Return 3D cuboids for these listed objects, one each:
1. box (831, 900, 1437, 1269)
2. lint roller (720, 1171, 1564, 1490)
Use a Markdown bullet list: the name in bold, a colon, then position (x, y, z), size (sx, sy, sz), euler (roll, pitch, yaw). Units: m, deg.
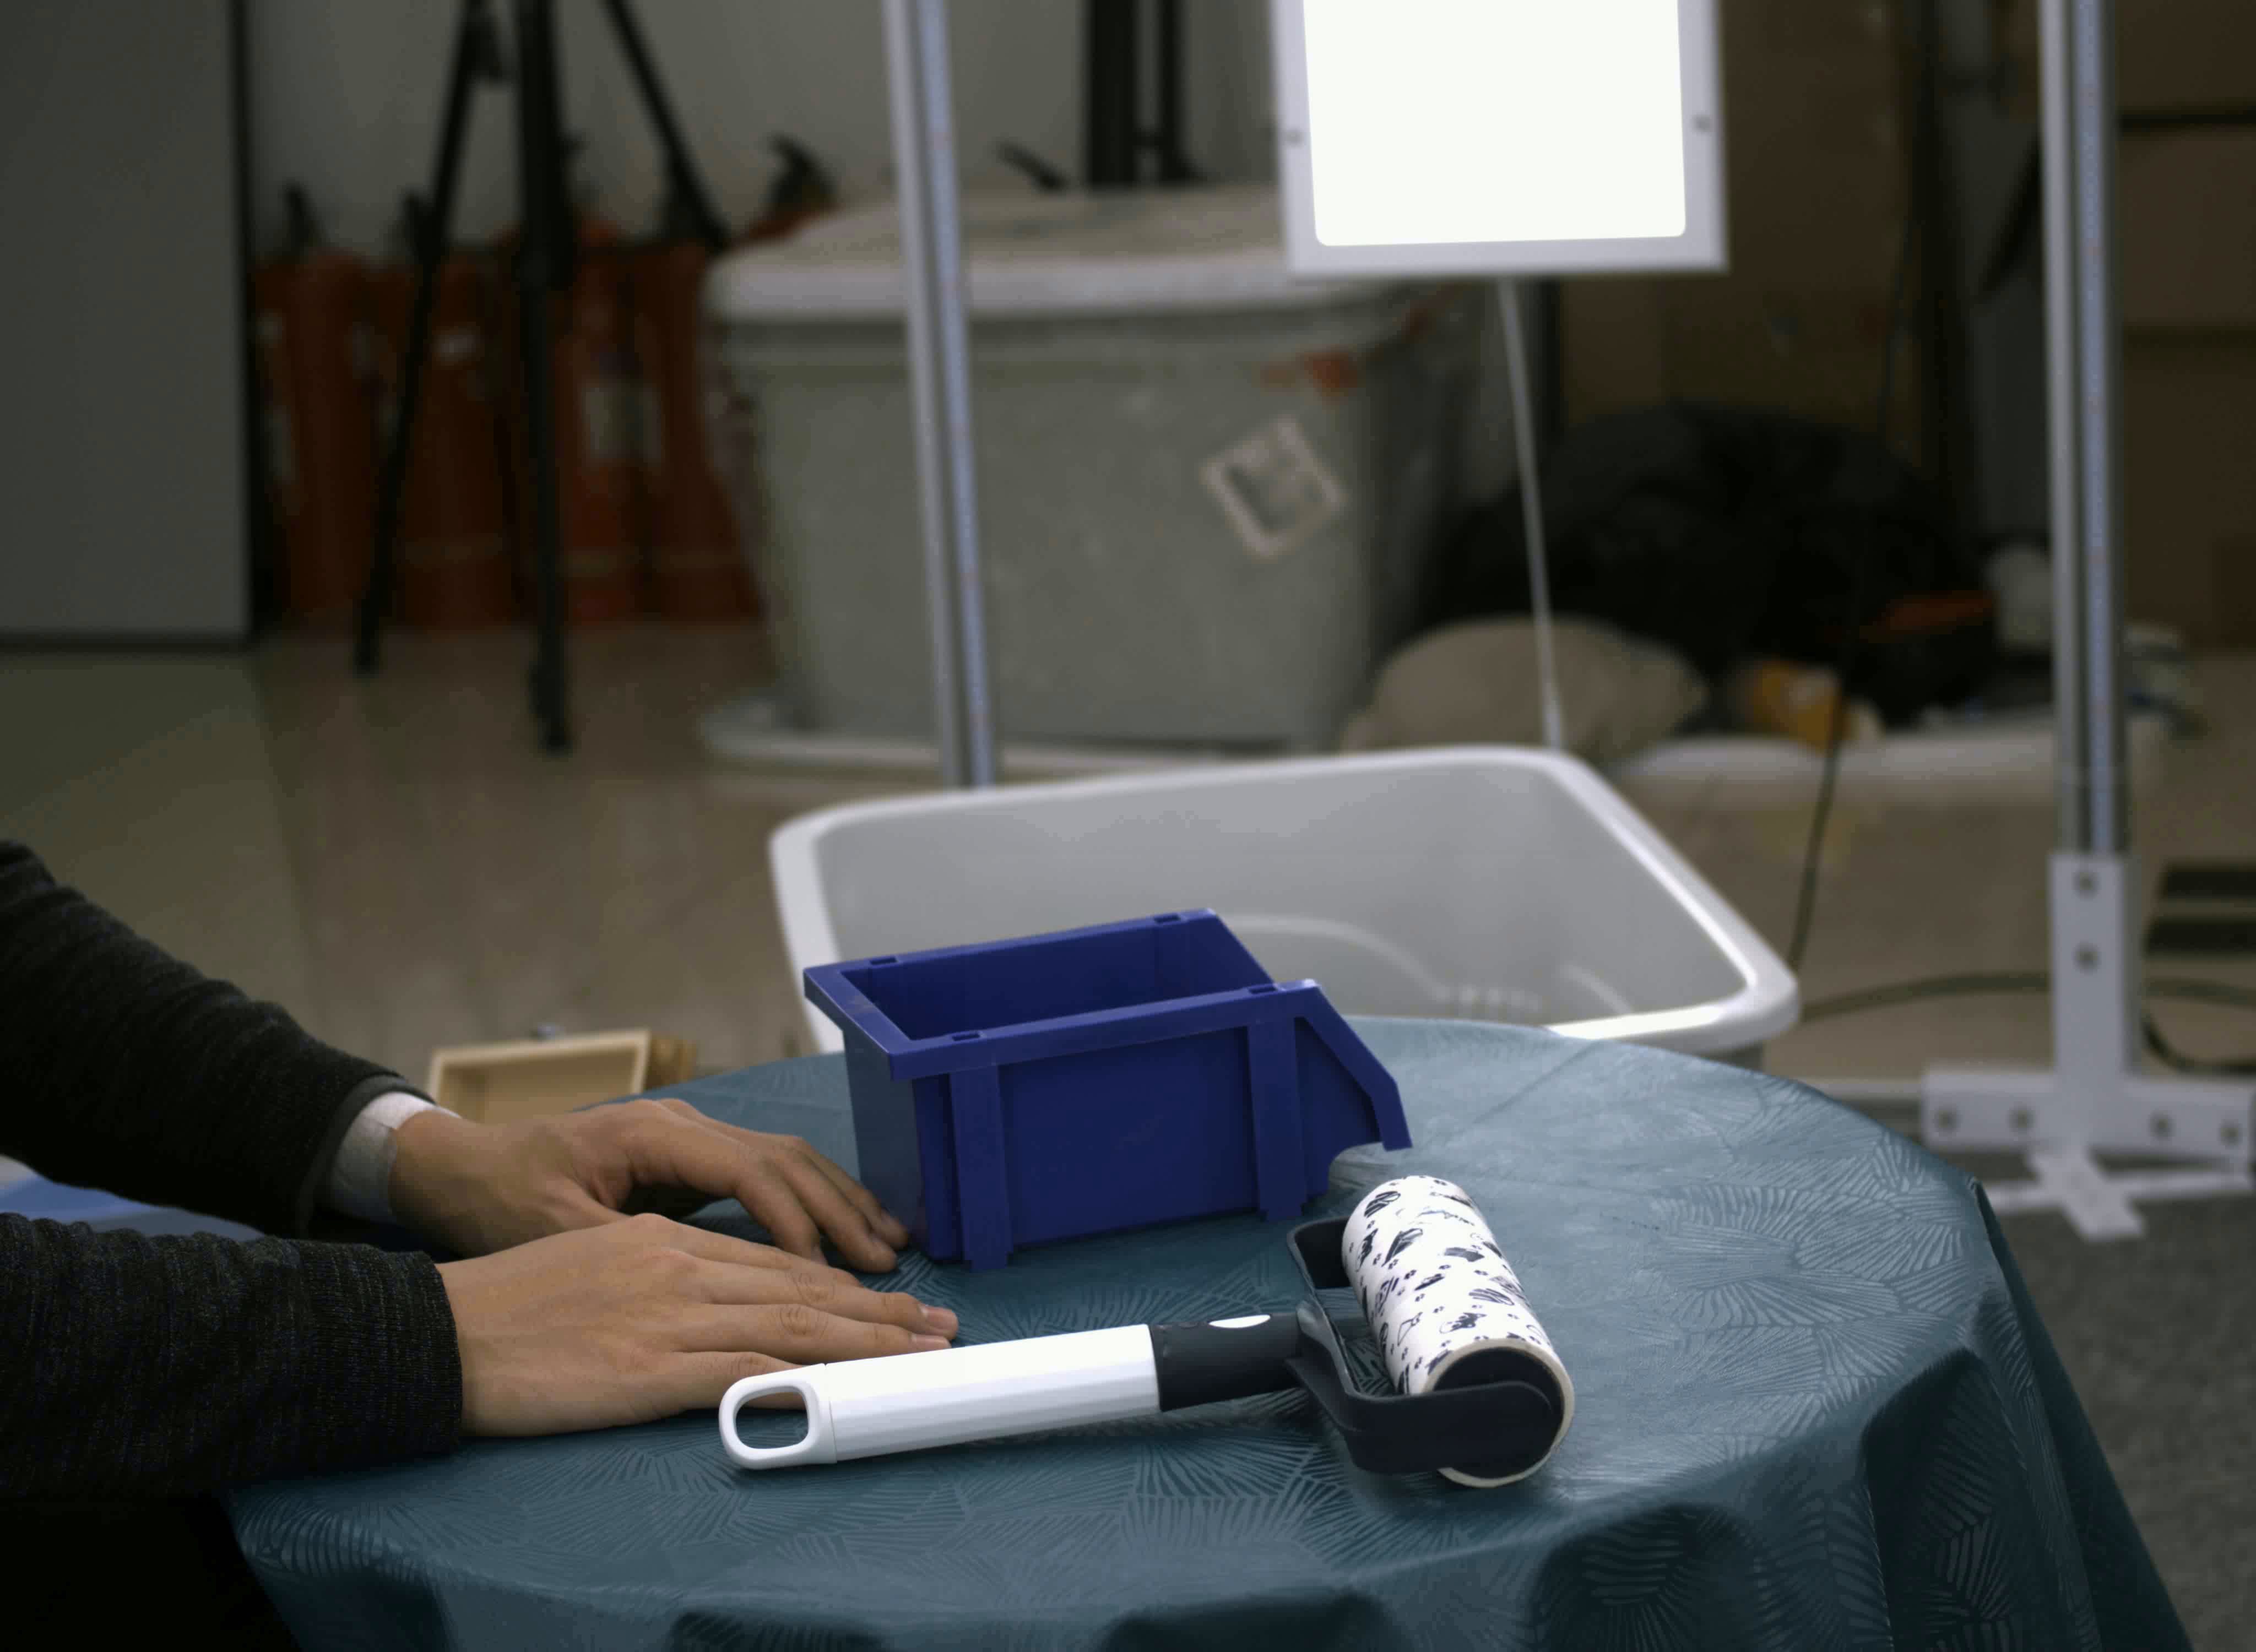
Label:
- **box**: position (0.001, 0.085, 1.894), size (0.177, 0.082, 0.125), euler (-11, 14, -12)
- **lint roller**: position (-0.001, 0.163, 1.660), size (0.246, 0.050, 0.176), euler (-7, 15, -3)
